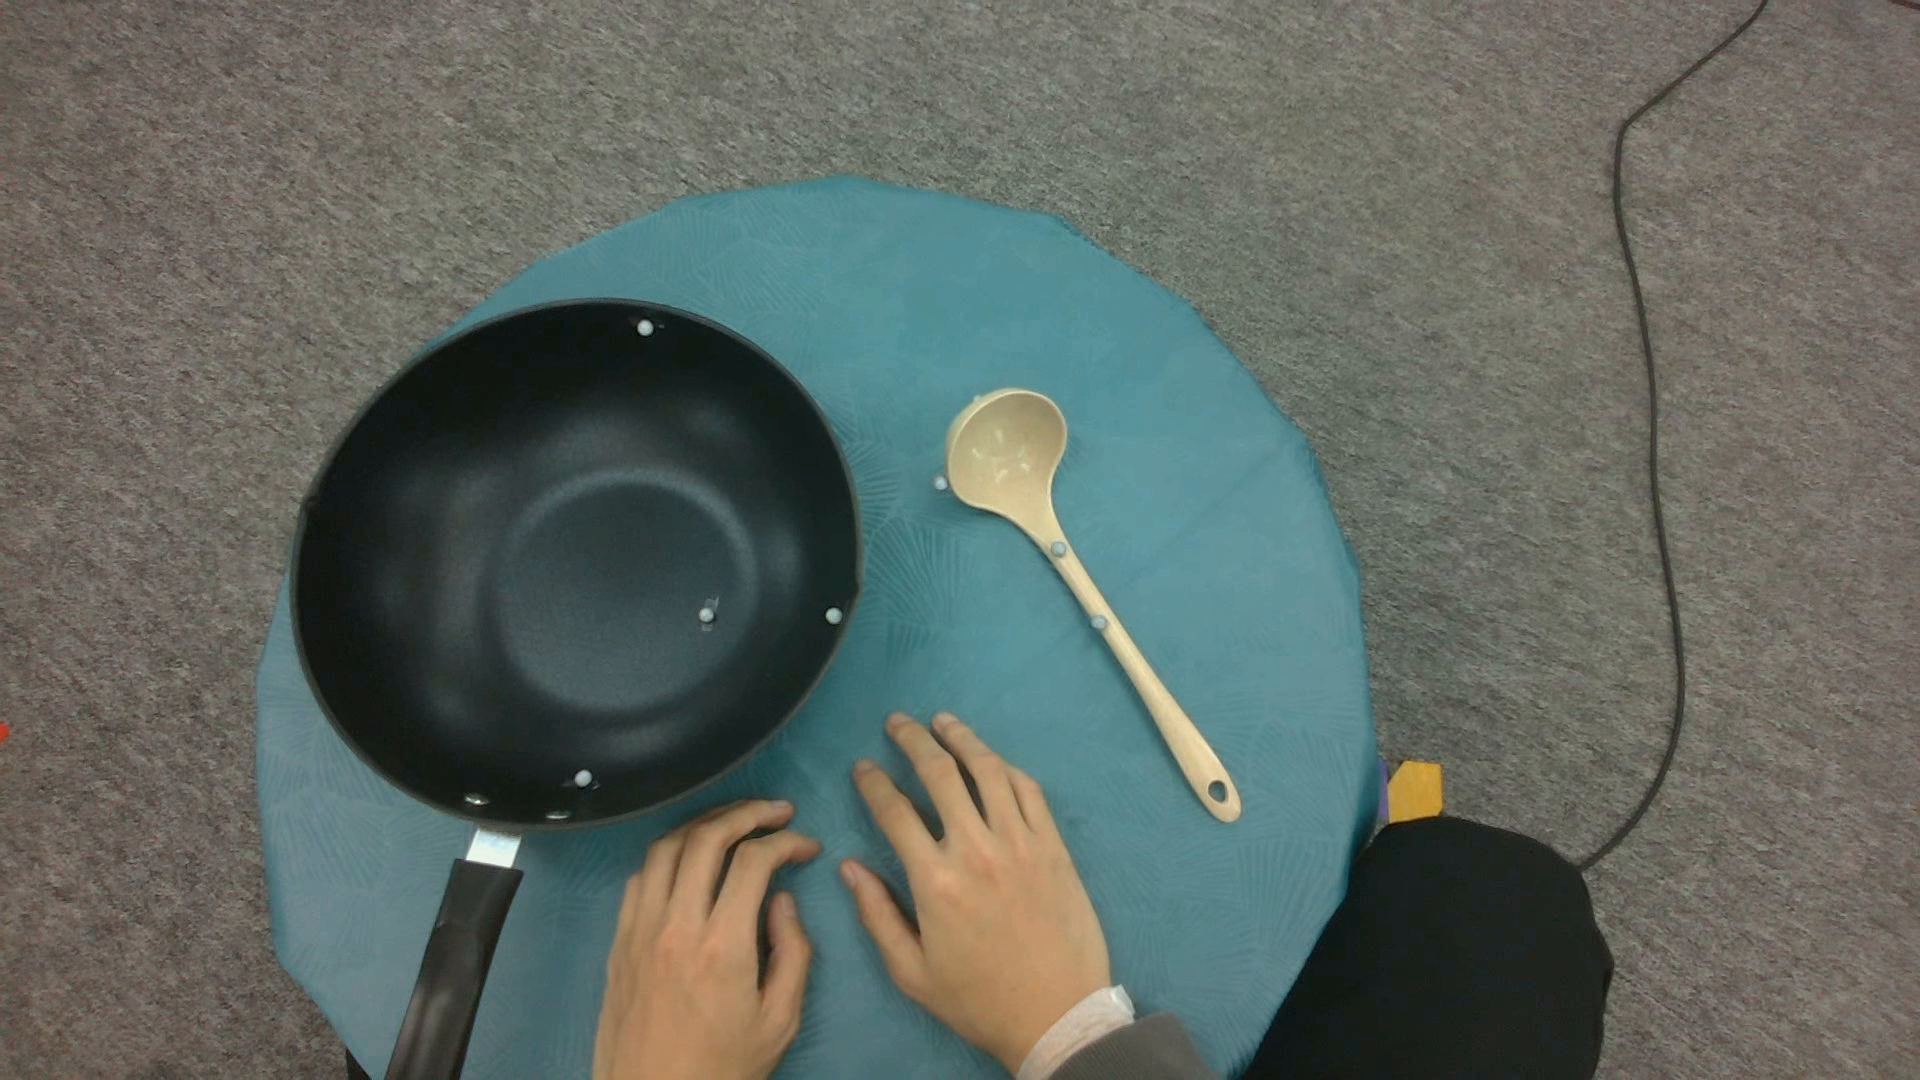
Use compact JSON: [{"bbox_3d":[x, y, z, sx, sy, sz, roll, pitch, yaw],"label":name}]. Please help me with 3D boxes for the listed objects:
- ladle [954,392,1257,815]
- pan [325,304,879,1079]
[{"bbox_3d":[0.084,0.029,0.726,0.072,0.072,0.255,-30,70,-14],"label":"ladle"},{"bbox_3d":[-0.199,0.102,0.706,0.288,0.086,0.464,10,72,5],"label":"pan"}]
